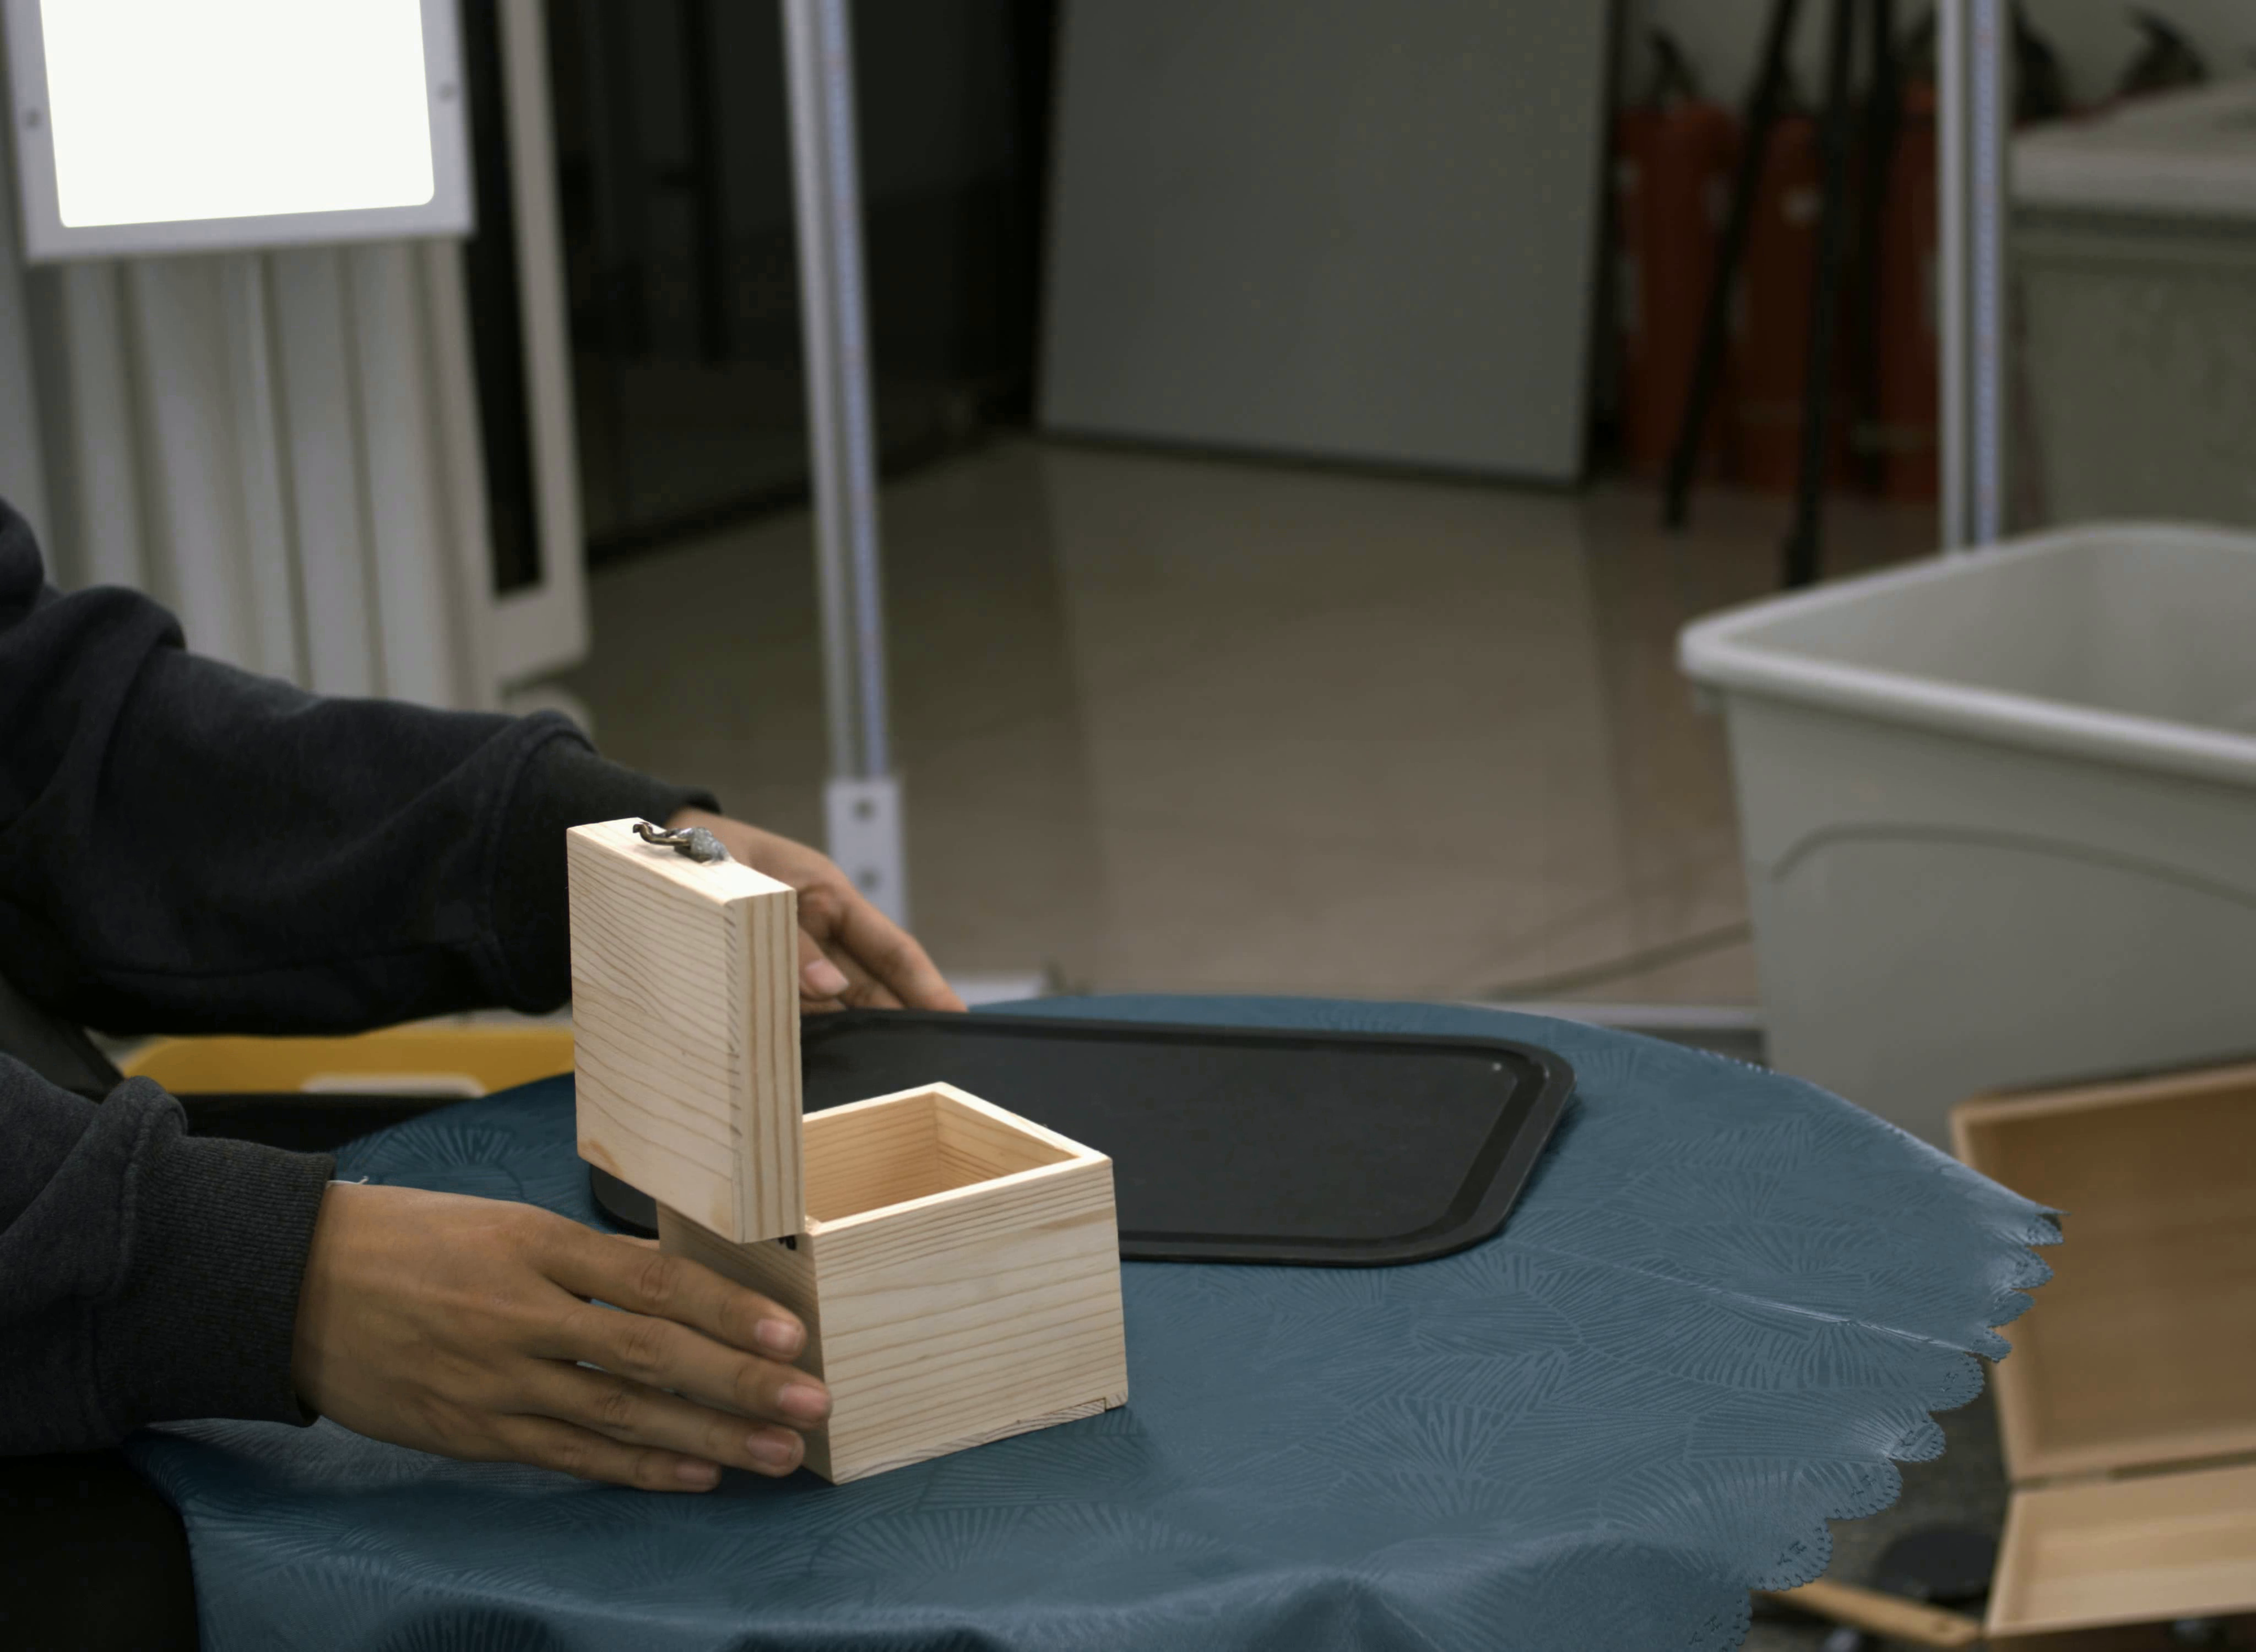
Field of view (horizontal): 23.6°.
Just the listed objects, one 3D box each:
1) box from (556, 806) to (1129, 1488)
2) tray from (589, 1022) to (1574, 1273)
[{"bbox_3d":[-0.081,0.082,1.562,0.131,0.186,0.104,-13,16,-30],"label":"box"},{"bbox_3d":[-0.020,0.103,1.806,0.324,0.010,0.209,1,18,17],"label":"tray"}]
